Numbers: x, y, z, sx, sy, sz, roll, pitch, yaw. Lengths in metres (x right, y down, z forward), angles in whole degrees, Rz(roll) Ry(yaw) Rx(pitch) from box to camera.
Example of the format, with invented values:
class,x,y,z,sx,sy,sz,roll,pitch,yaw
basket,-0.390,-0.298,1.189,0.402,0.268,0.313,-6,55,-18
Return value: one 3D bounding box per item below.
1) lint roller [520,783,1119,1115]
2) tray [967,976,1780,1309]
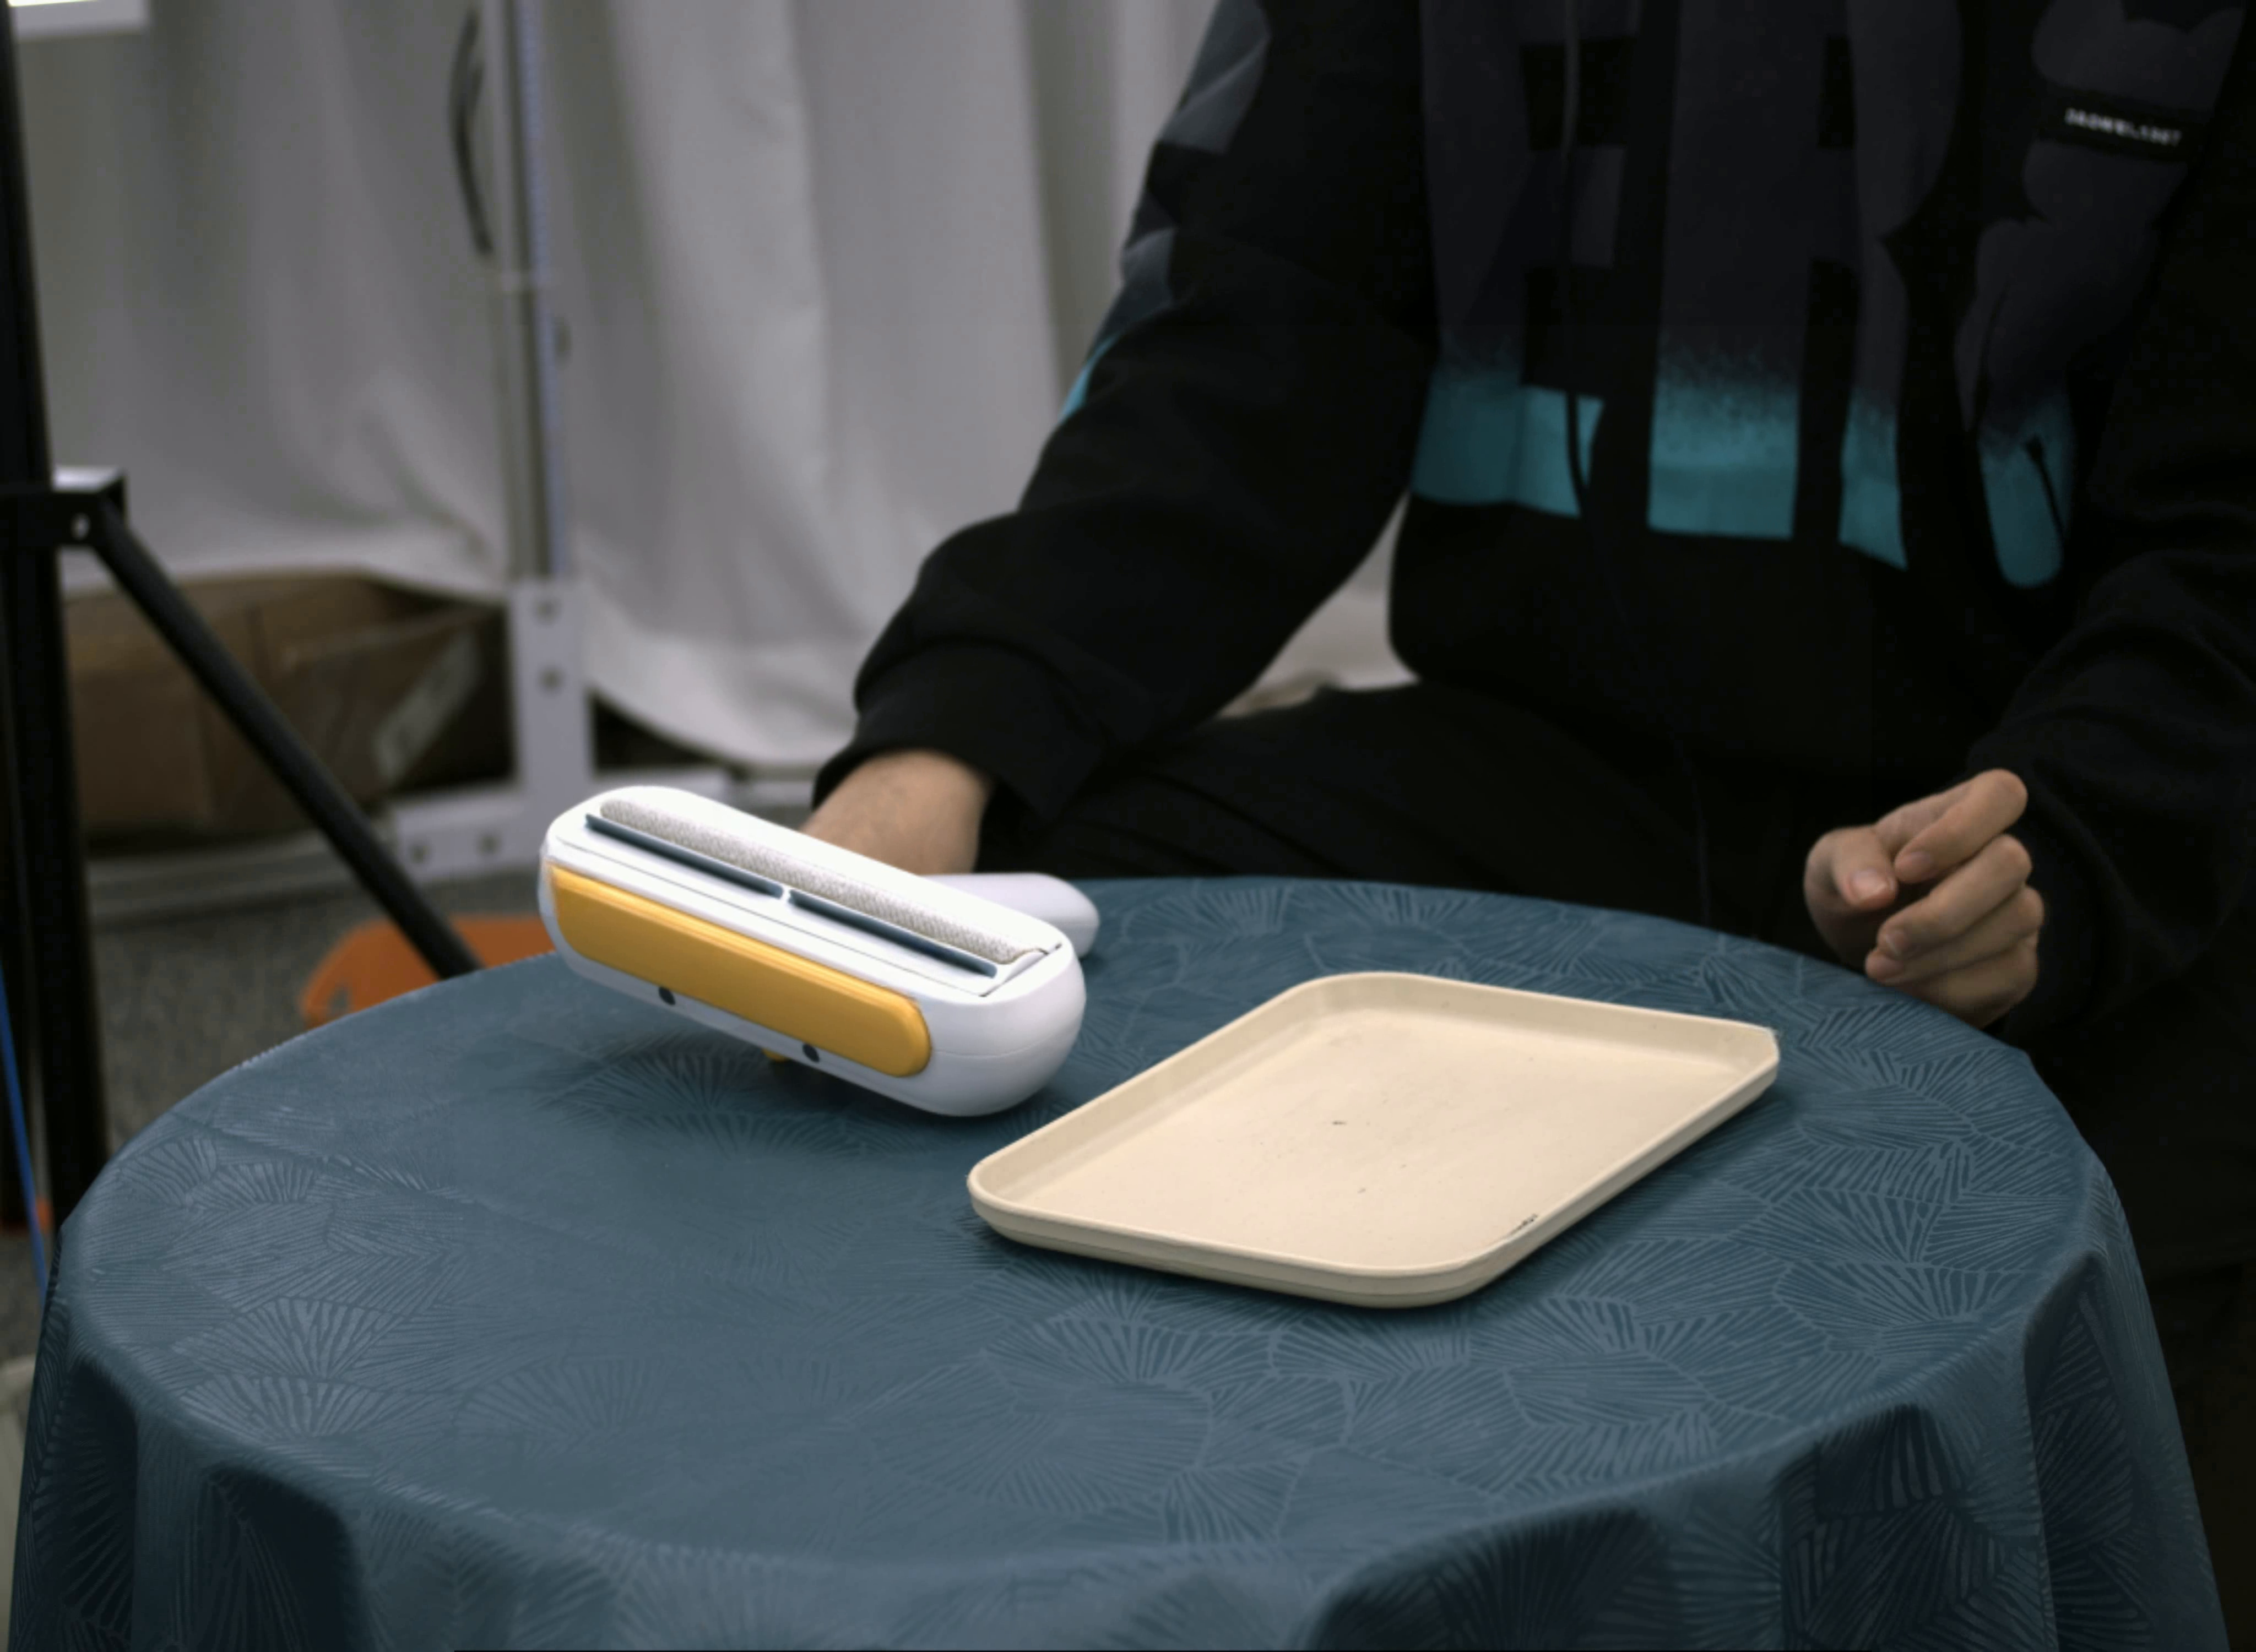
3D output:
class,x,y,z,sx,sy,sz,roll,pitch,yaw
lint roller,-0.072,0.031,1.718,0.197,0.074,0.188,16,22,36
tray,0.076,0.092,1.569,0.174,0.017,0.235,7,19,33
